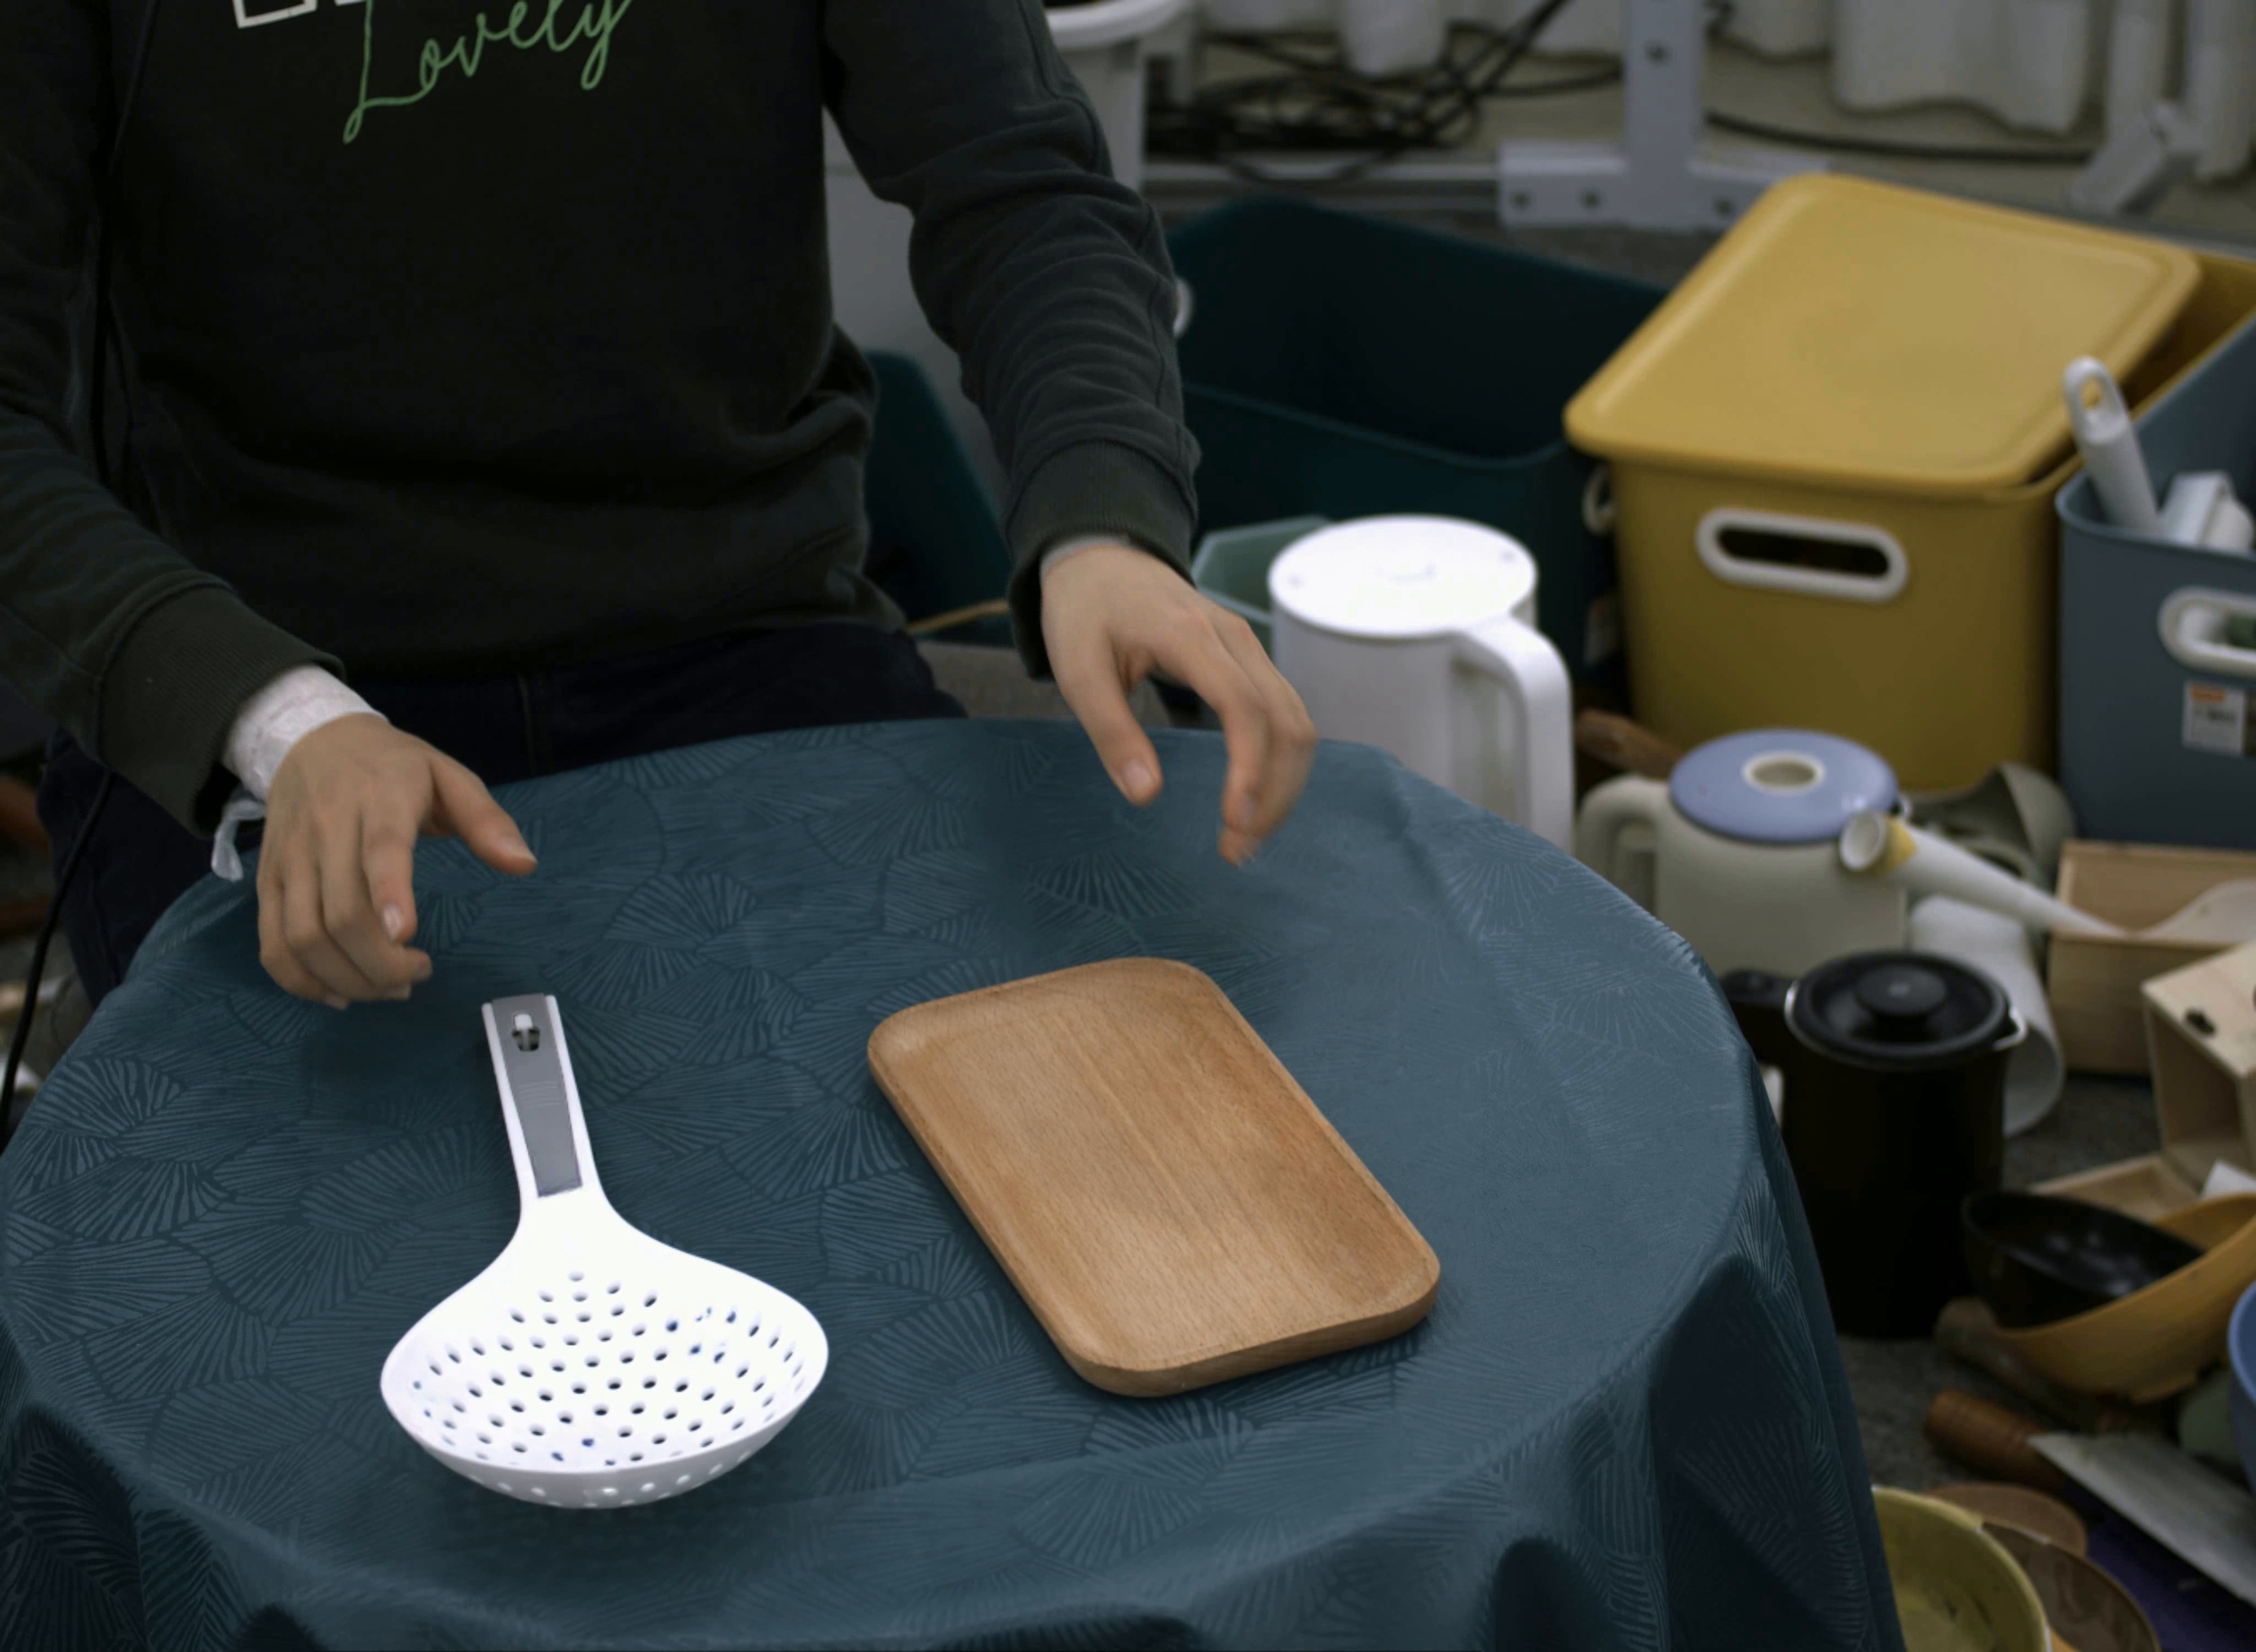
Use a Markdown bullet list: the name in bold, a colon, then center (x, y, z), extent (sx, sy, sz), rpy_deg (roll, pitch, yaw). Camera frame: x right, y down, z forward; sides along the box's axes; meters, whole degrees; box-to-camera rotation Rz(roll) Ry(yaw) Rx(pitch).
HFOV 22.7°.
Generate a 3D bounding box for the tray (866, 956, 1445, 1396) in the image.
- **tray**: center (0.005, 0.113, 1.859), extent (0.131, 0.022, 0.252), rpy_deg (-10, 27, -18)

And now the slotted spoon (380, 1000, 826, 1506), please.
- **slotted spoon**: center (-0.180, 0.131, 1.812), extent (0.136, 0.045, 0.354), rpy_deg (-4, 26, -10)
